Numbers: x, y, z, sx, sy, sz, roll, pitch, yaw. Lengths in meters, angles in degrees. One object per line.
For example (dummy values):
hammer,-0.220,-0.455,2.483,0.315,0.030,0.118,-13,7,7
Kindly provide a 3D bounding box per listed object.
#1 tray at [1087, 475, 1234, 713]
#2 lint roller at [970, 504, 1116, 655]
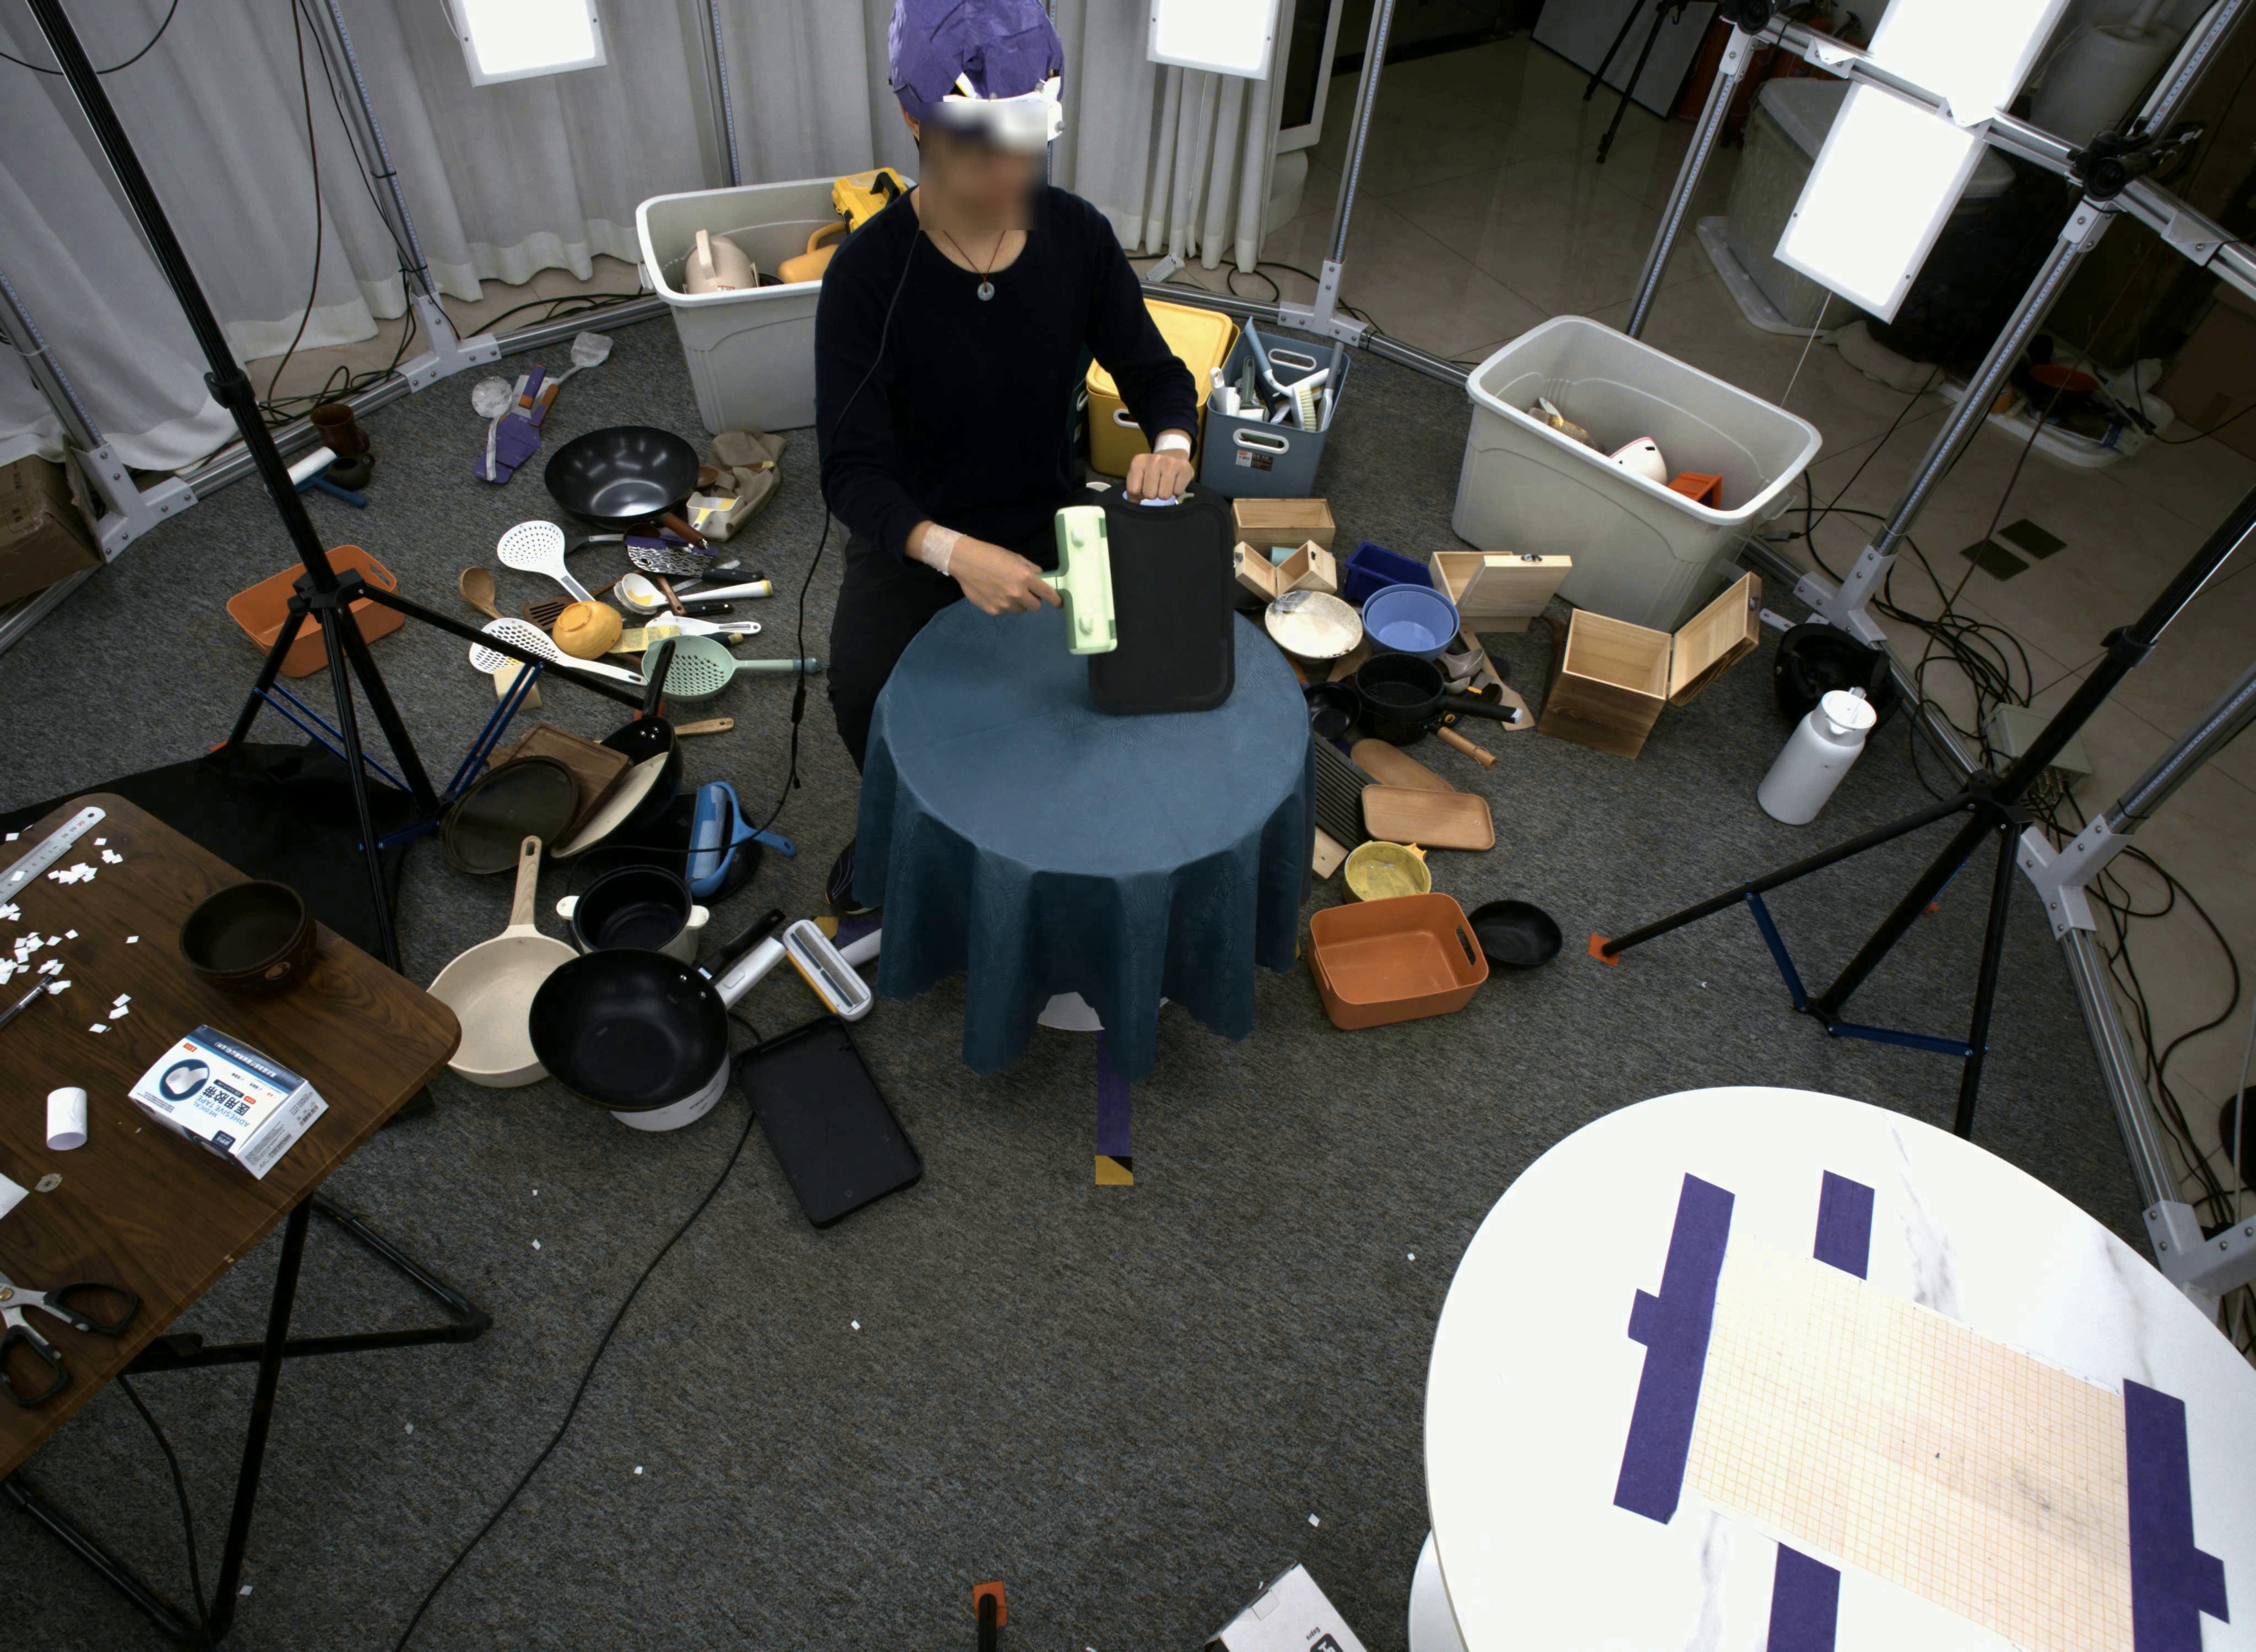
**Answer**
tray,0.045,-0.322,1.788,0.211,0.324,0.010,-2,6,-9
lint roller,-0.114,-0.322,1.708,0.183,0.197,0.082,-8,6,-15
